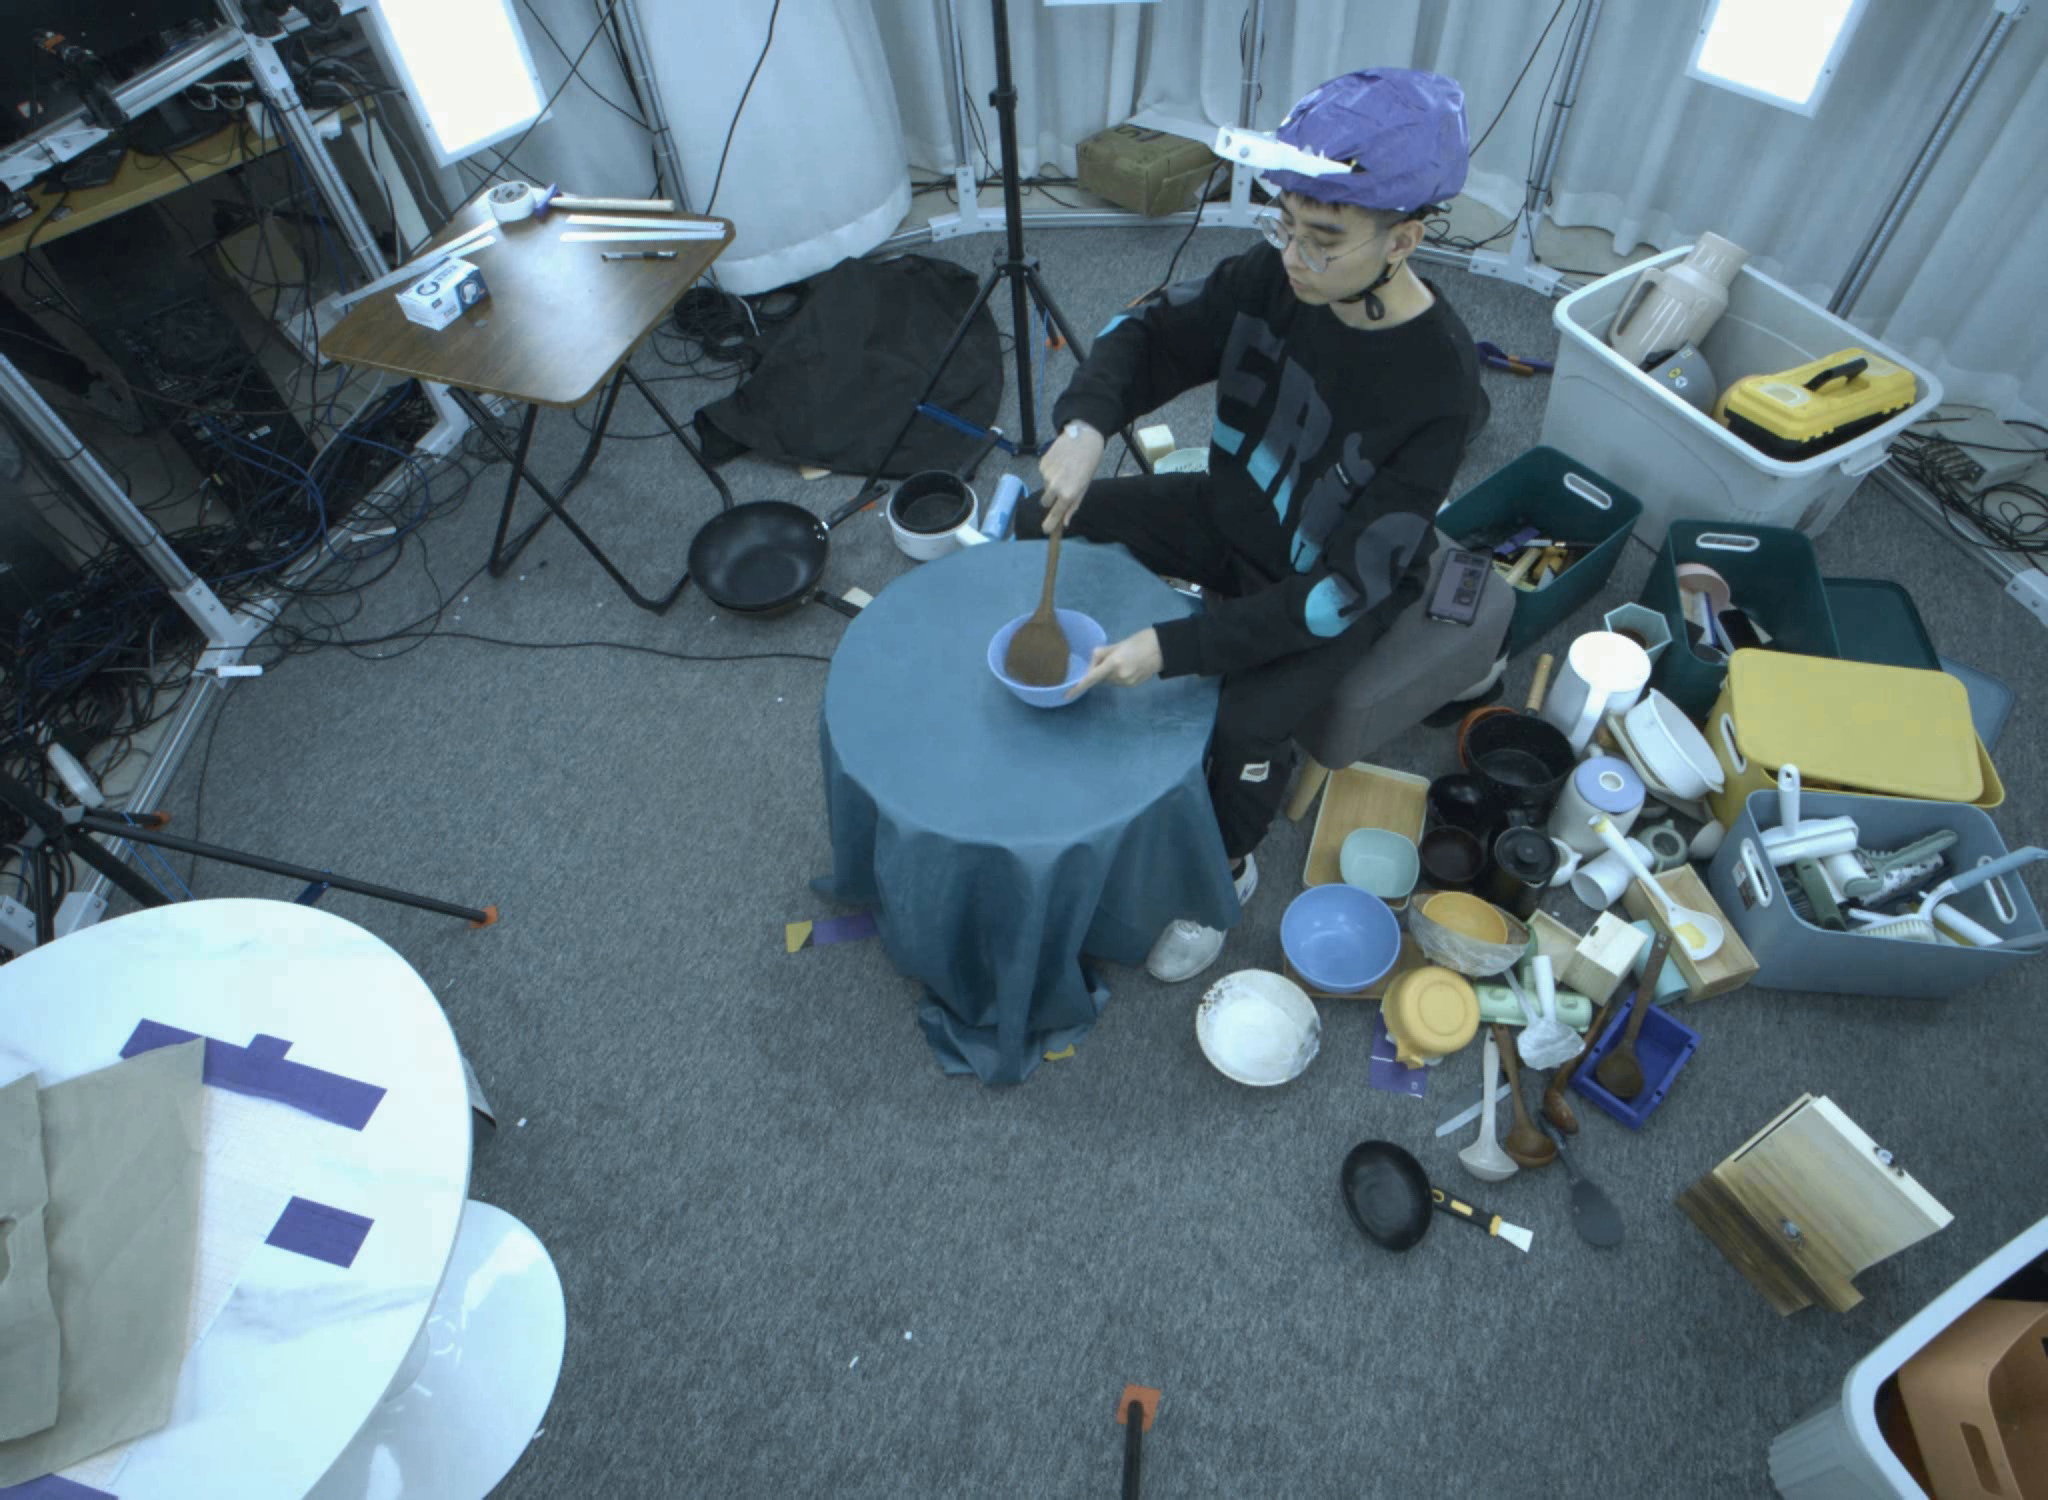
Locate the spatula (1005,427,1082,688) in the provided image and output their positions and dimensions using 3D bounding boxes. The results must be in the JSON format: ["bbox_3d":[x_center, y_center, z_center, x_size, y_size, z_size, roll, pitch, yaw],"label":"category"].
[{"bbox_3d":[0.042,-0.280,1.793,0.095,0.387,0.016,10,14,7],"label":"spatula"}]

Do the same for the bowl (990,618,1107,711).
[{"bbox_3d":[0.041,-0.119,1.829,0.175,0.071,0.174,-6,44,7],"label":"bowl"}]
